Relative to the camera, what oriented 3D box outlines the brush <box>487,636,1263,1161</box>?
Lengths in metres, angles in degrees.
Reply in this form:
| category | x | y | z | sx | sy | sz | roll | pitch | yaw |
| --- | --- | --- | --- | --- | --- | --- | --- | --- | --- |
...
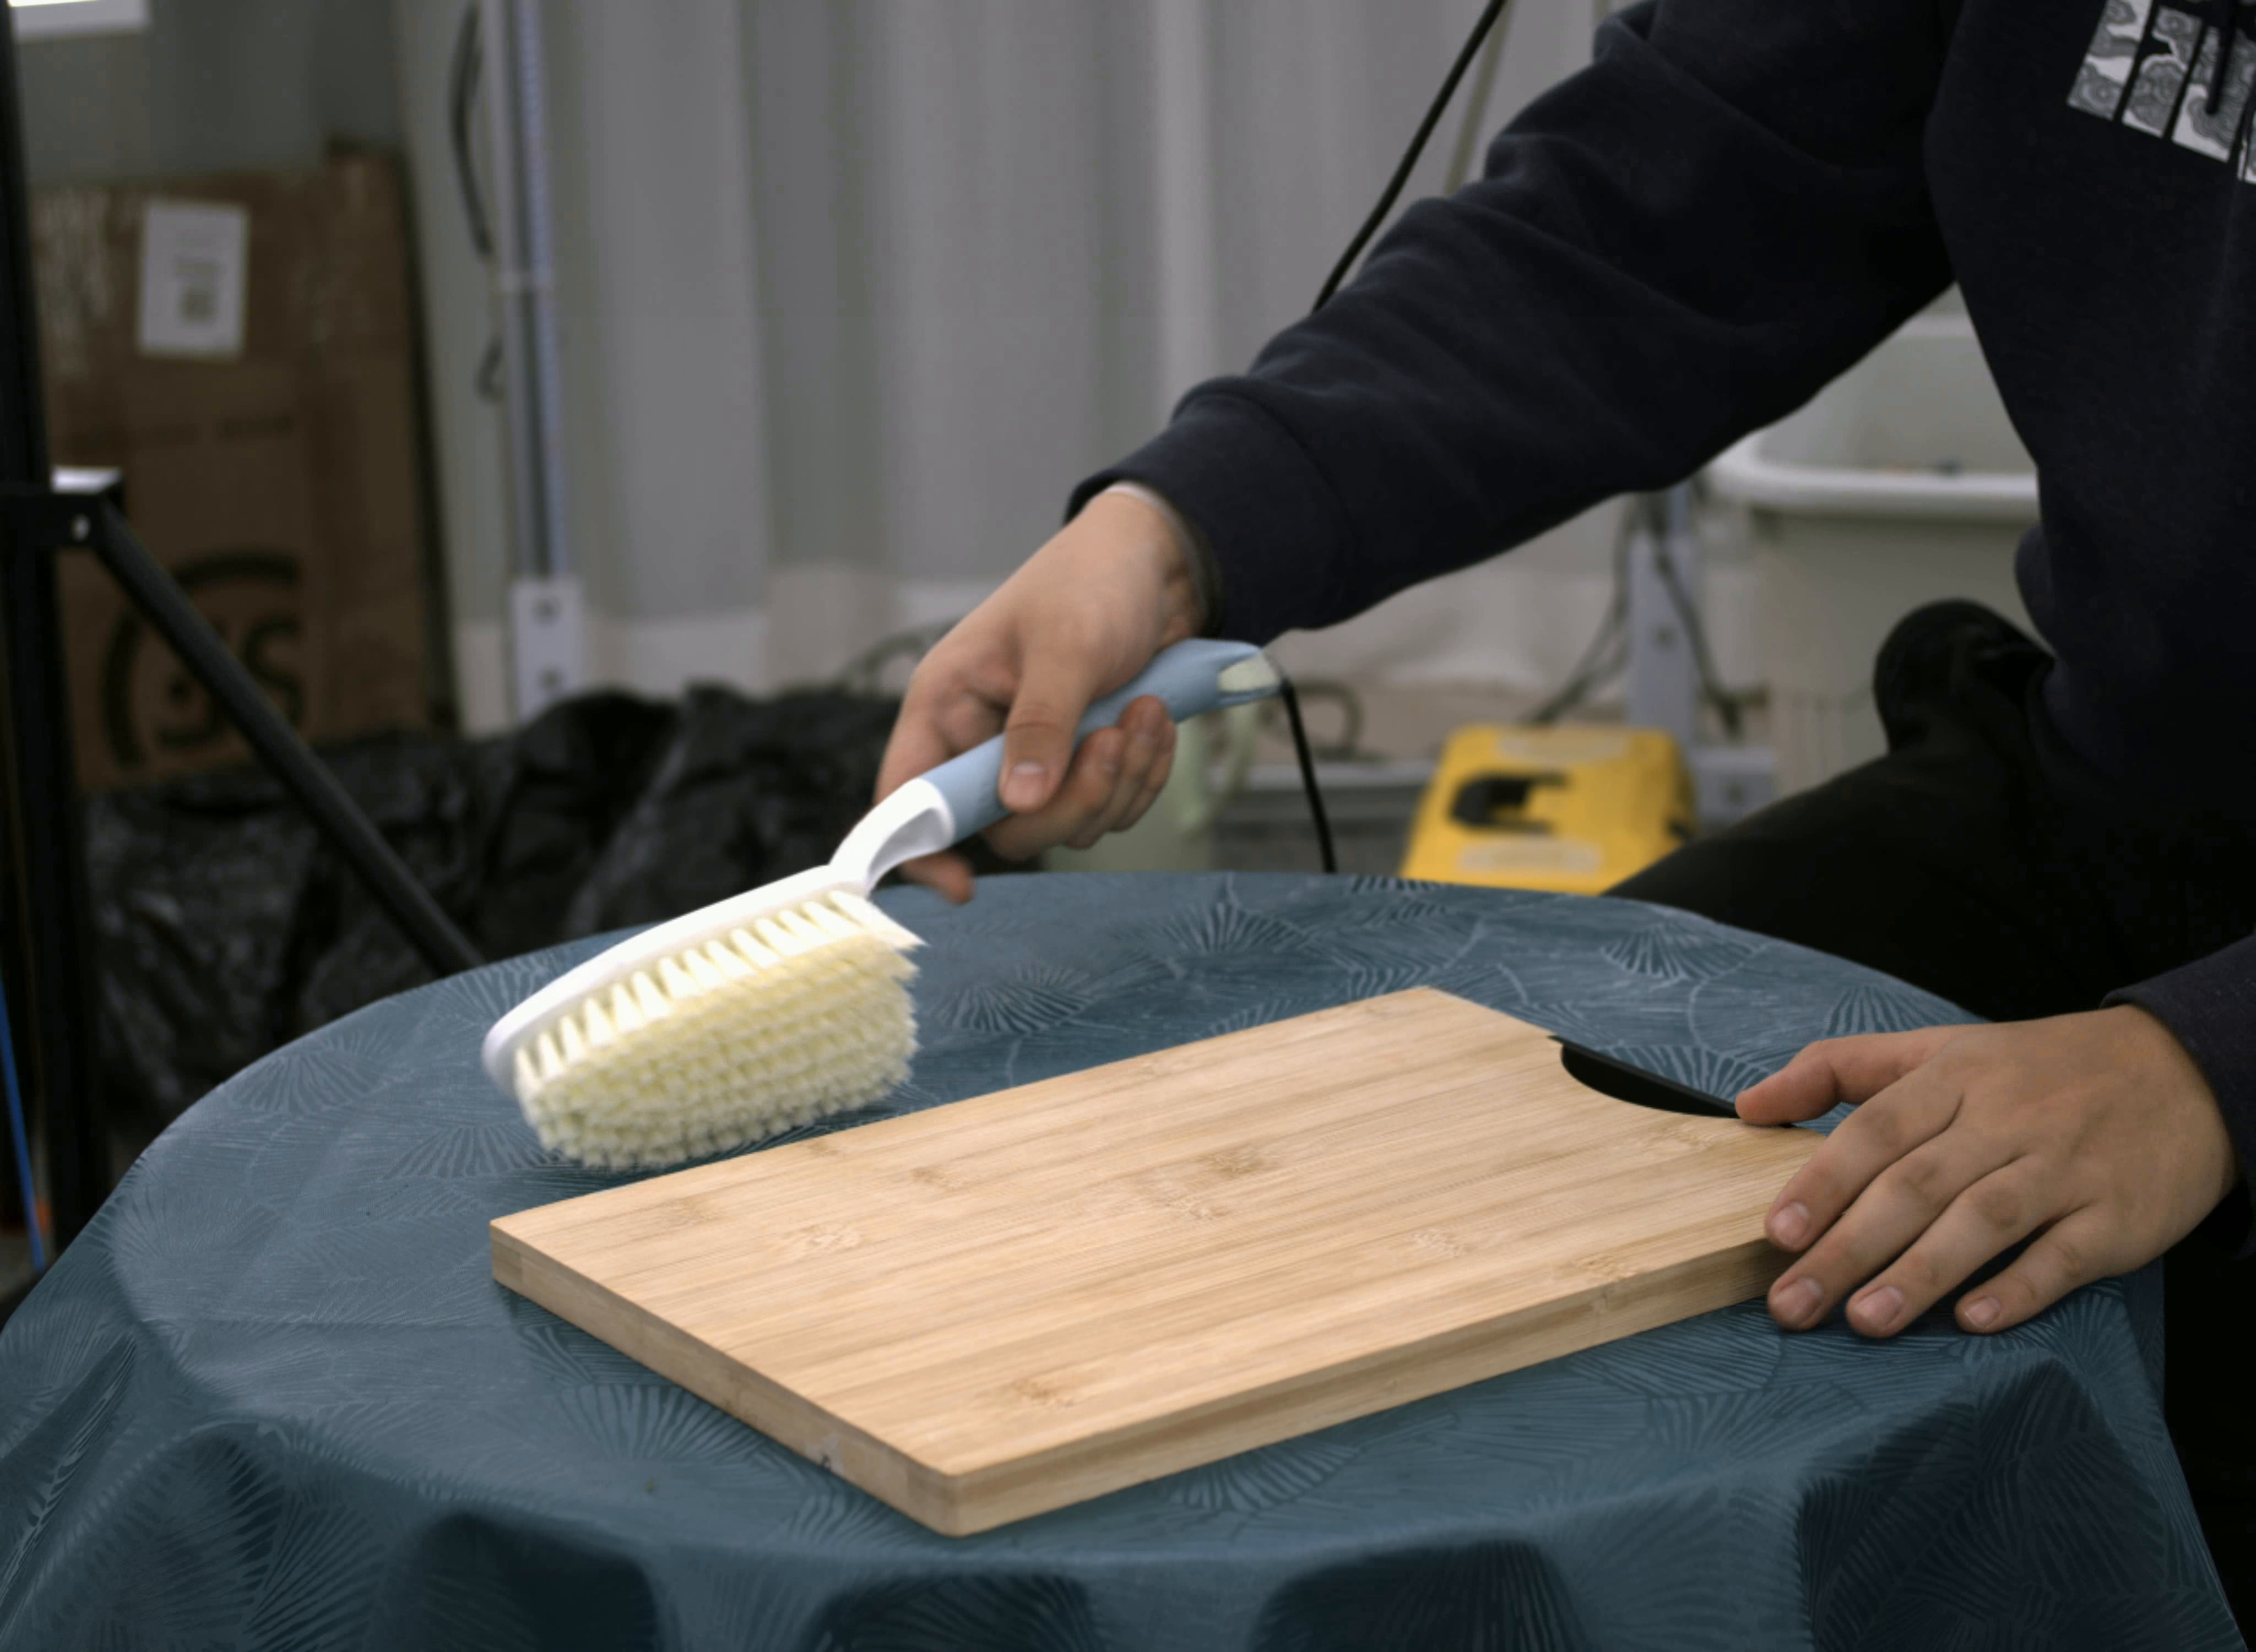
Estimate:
| category | x | y | z | sx | sy | sz | roll | pitch | yaw |
| --- | --- | --- | --- | --- | --- | --- | --- | --- | --- |
| brush | -0.055 | 0.017 | 1.659 | 0.320 | 0.085 | 0.083 | -29 | -15 | -33 |

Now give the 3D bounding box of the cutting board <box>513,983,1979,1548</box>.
| category | x | y | z | sx | sy | sz | roll | pitch | yaw |
| --- | --- | --- | --- | --- | --- | --- | --- | --- | --- |
| cutting board | 0.031 | 0.114 | 1.500 | 0.341 | 0.023 | 0.256 | -13 | 19 | -32 |
